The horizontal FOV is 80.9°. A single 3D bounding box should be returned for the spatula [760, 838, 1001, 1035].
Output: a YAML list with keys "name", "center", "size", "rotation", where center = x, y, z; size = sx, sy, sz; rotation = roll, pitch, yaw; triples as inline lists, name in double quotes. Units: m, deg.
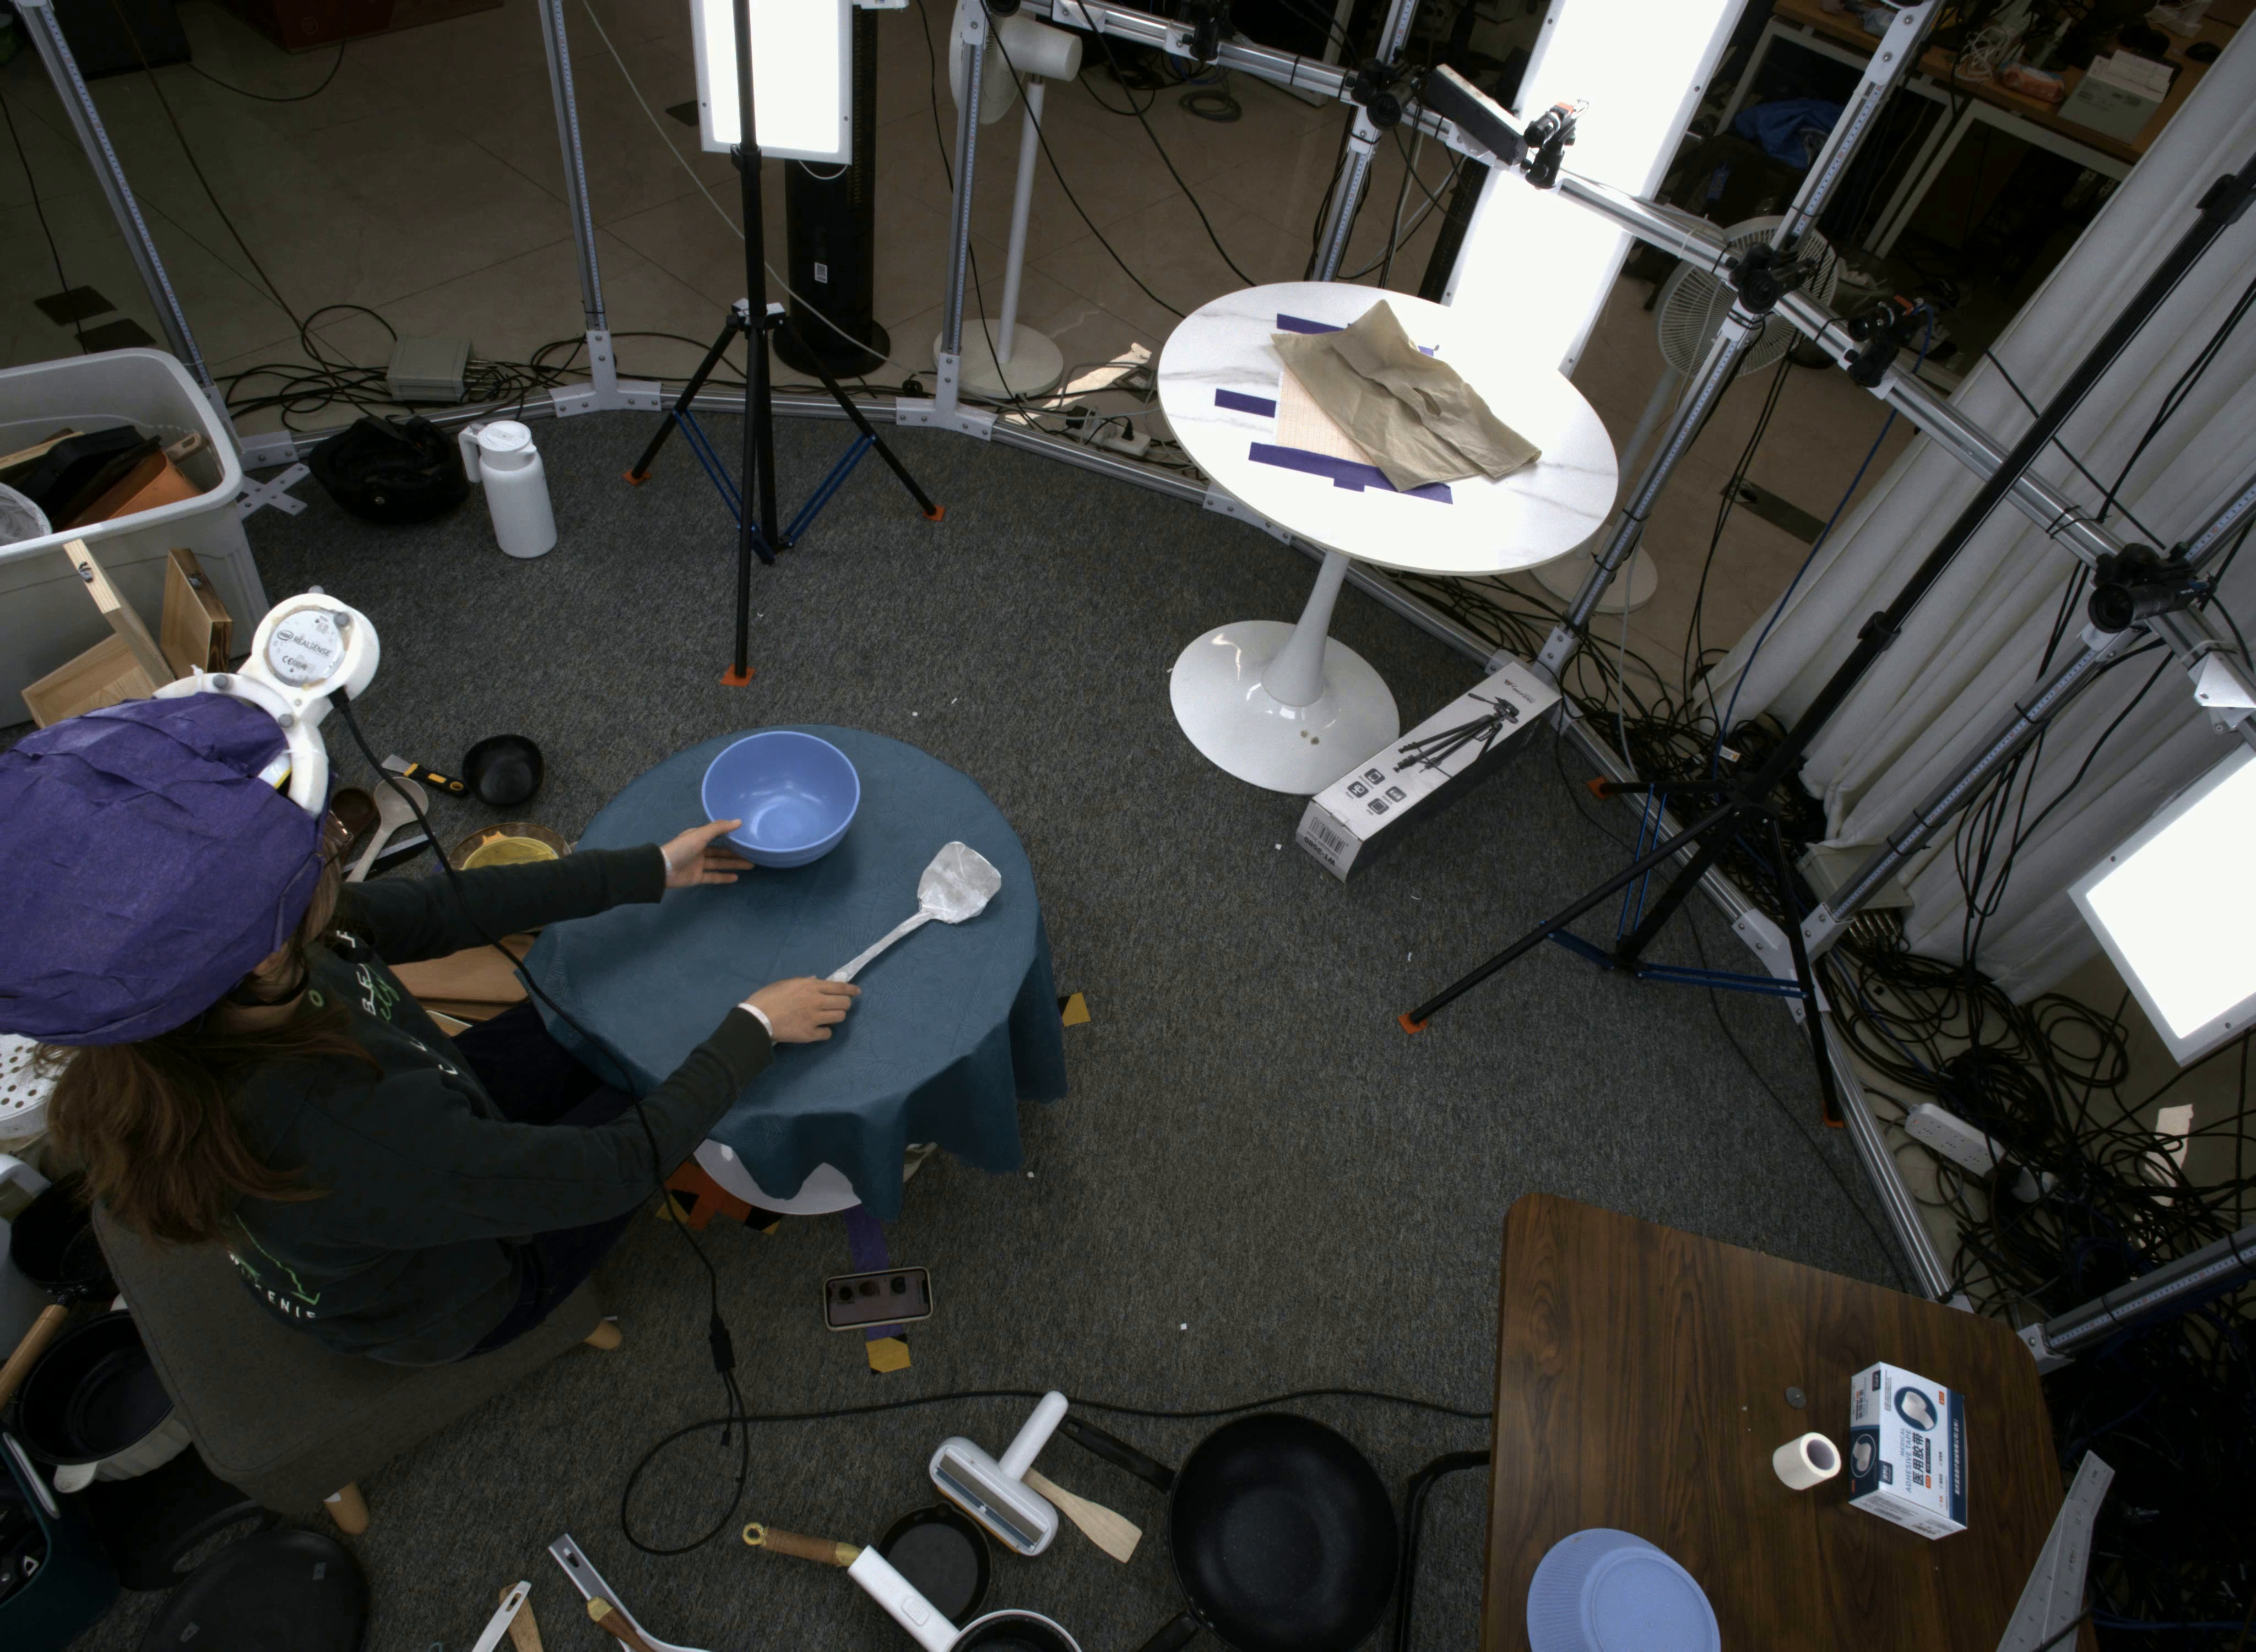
- name: "spatula"
  center: [-0.311, 0.143, 1.627]
  size: [0.097, 0.045, 0.365]
  rotation: [40, 54, 15]

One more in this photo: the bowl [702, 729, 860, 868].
- name: "bowl"
  center: [-0.447, -0.021, 1.677]
  size: [0.196, 0.097, 0.193]
  rotation: [9, 52, -10]
